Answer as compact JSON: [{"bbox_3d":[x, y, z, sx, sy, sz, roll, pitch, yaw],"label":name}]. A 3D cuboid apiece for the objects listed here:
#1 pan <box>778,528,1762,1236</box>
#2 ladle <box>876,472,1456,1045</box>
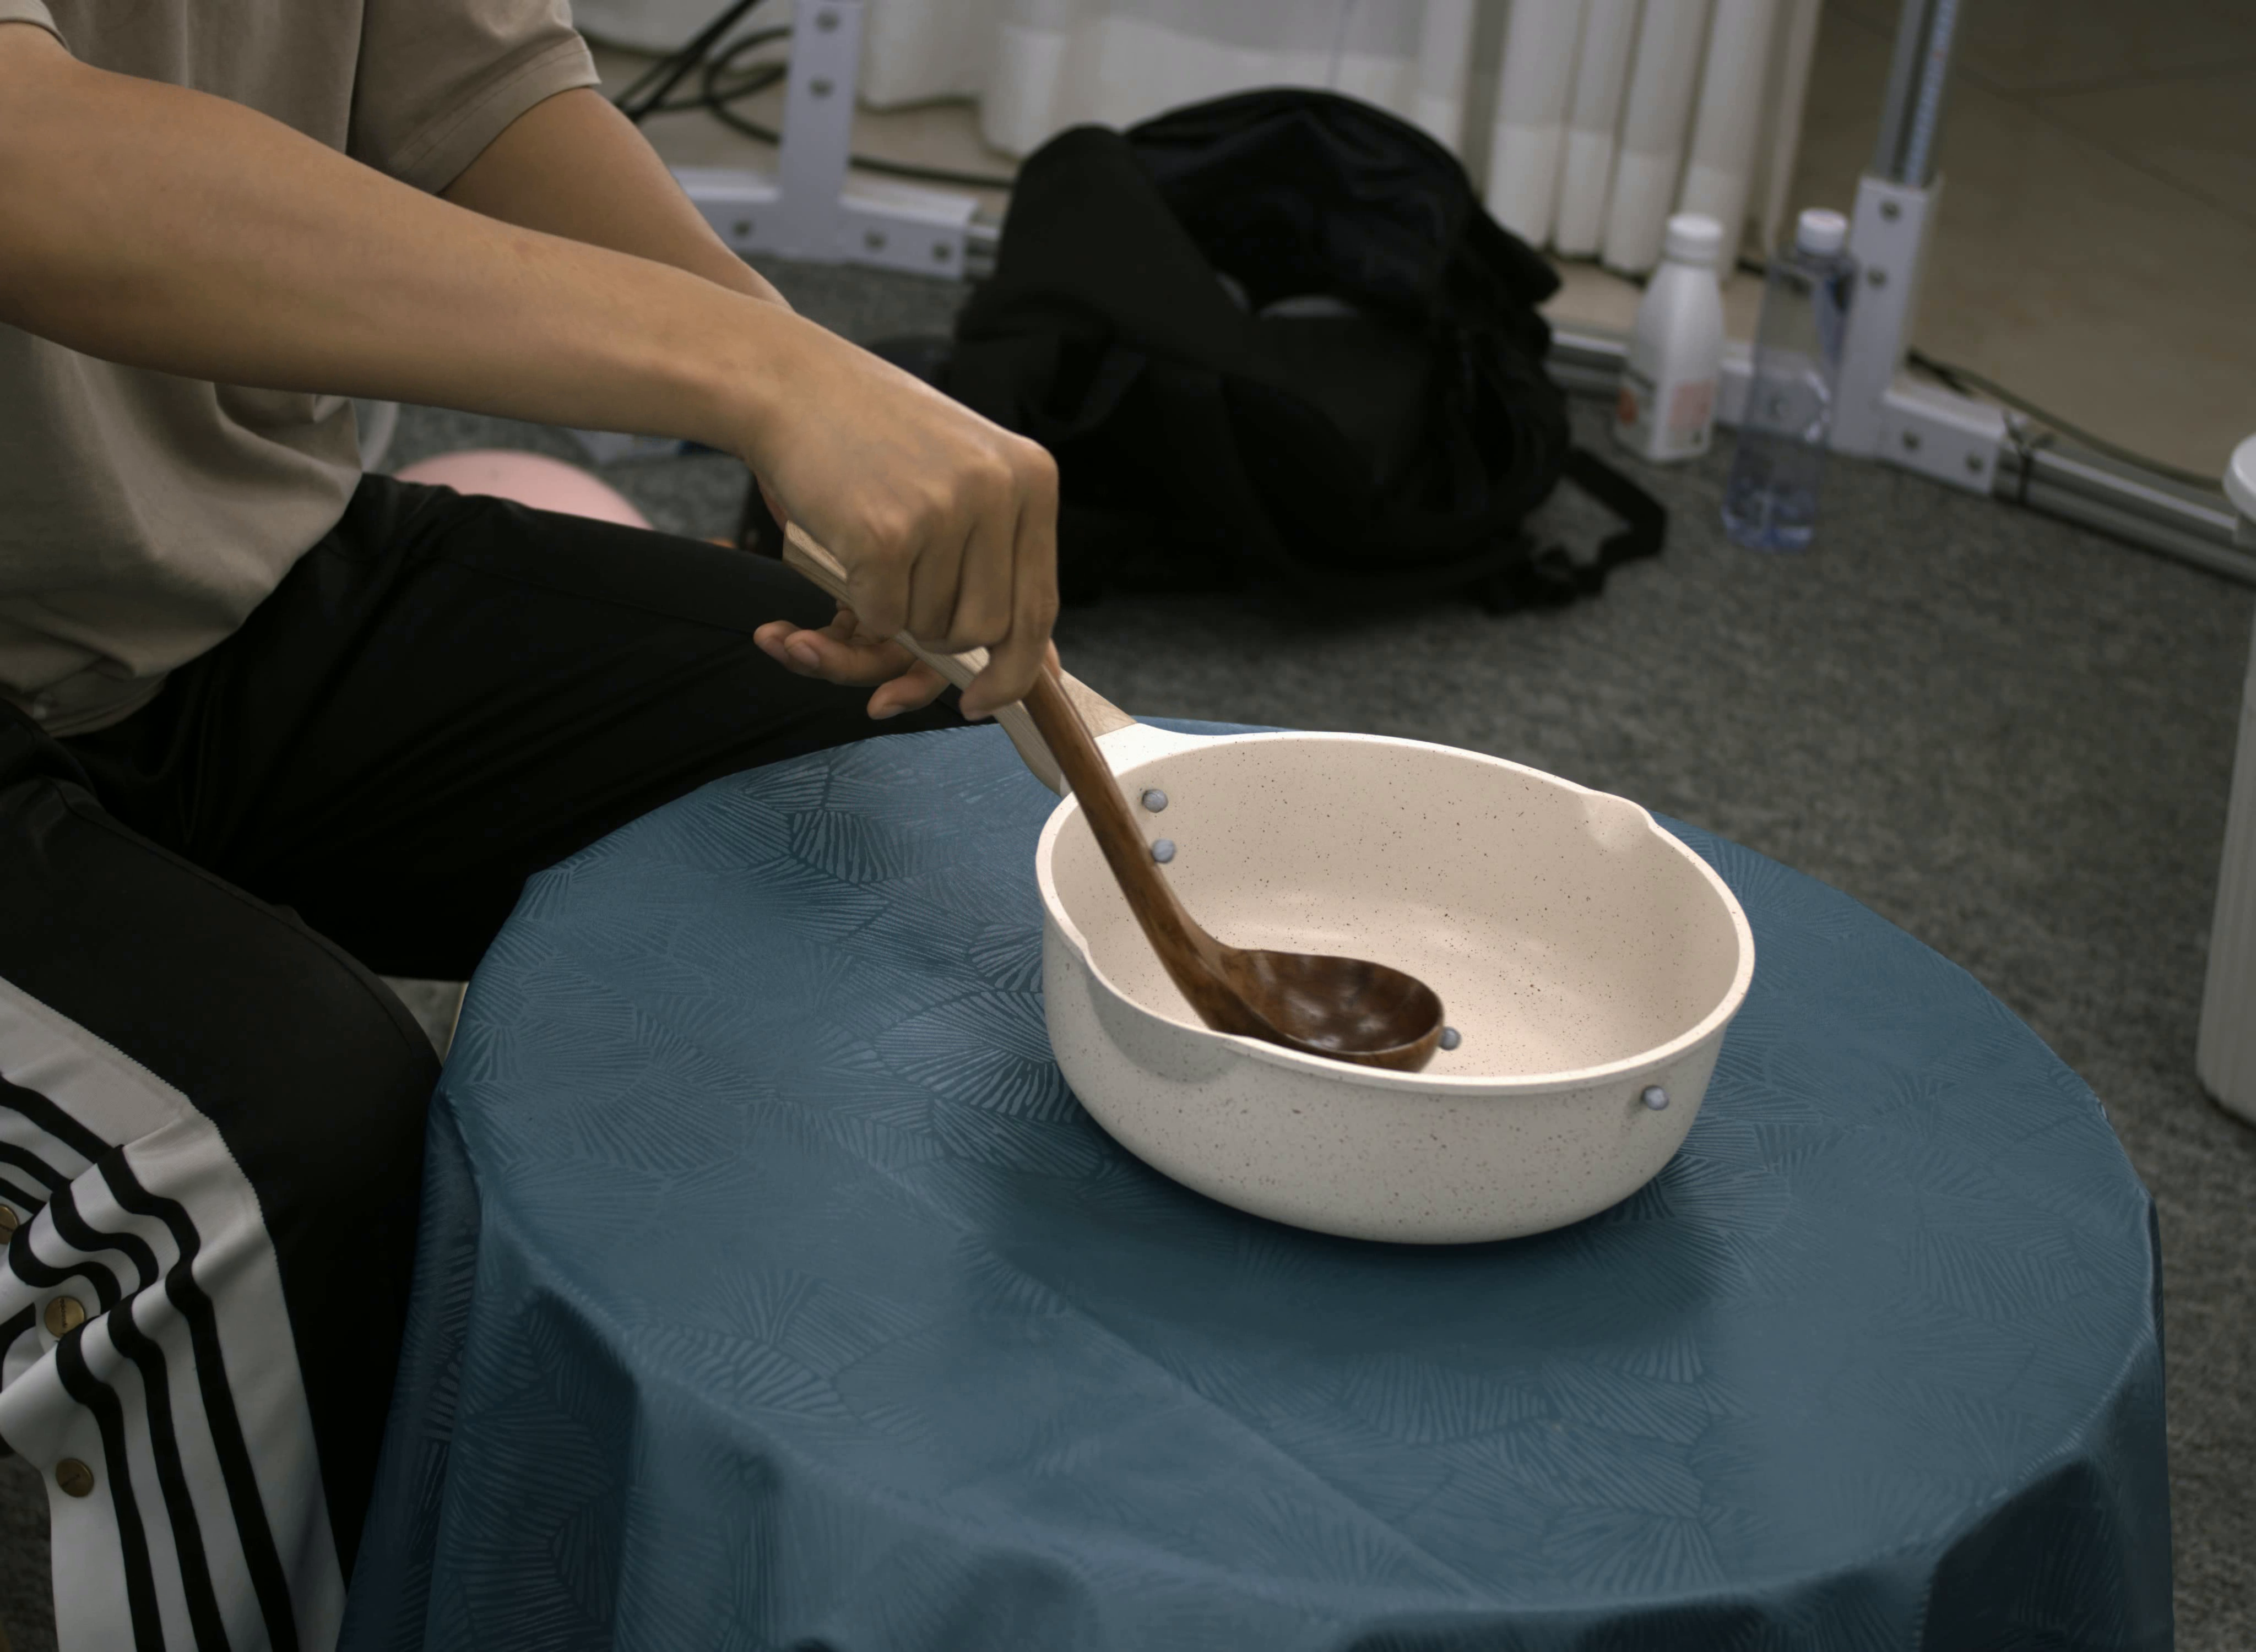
[{"bbox_3d":[0.026,0.015,1.914,0.438,0.101,0.262,29,36,36],"label":"pan"},{"bbox_3d":[0.018,-0.018,1.760,0.076,0.272,0.082,-30,21,2],"label":"ladle"}]
